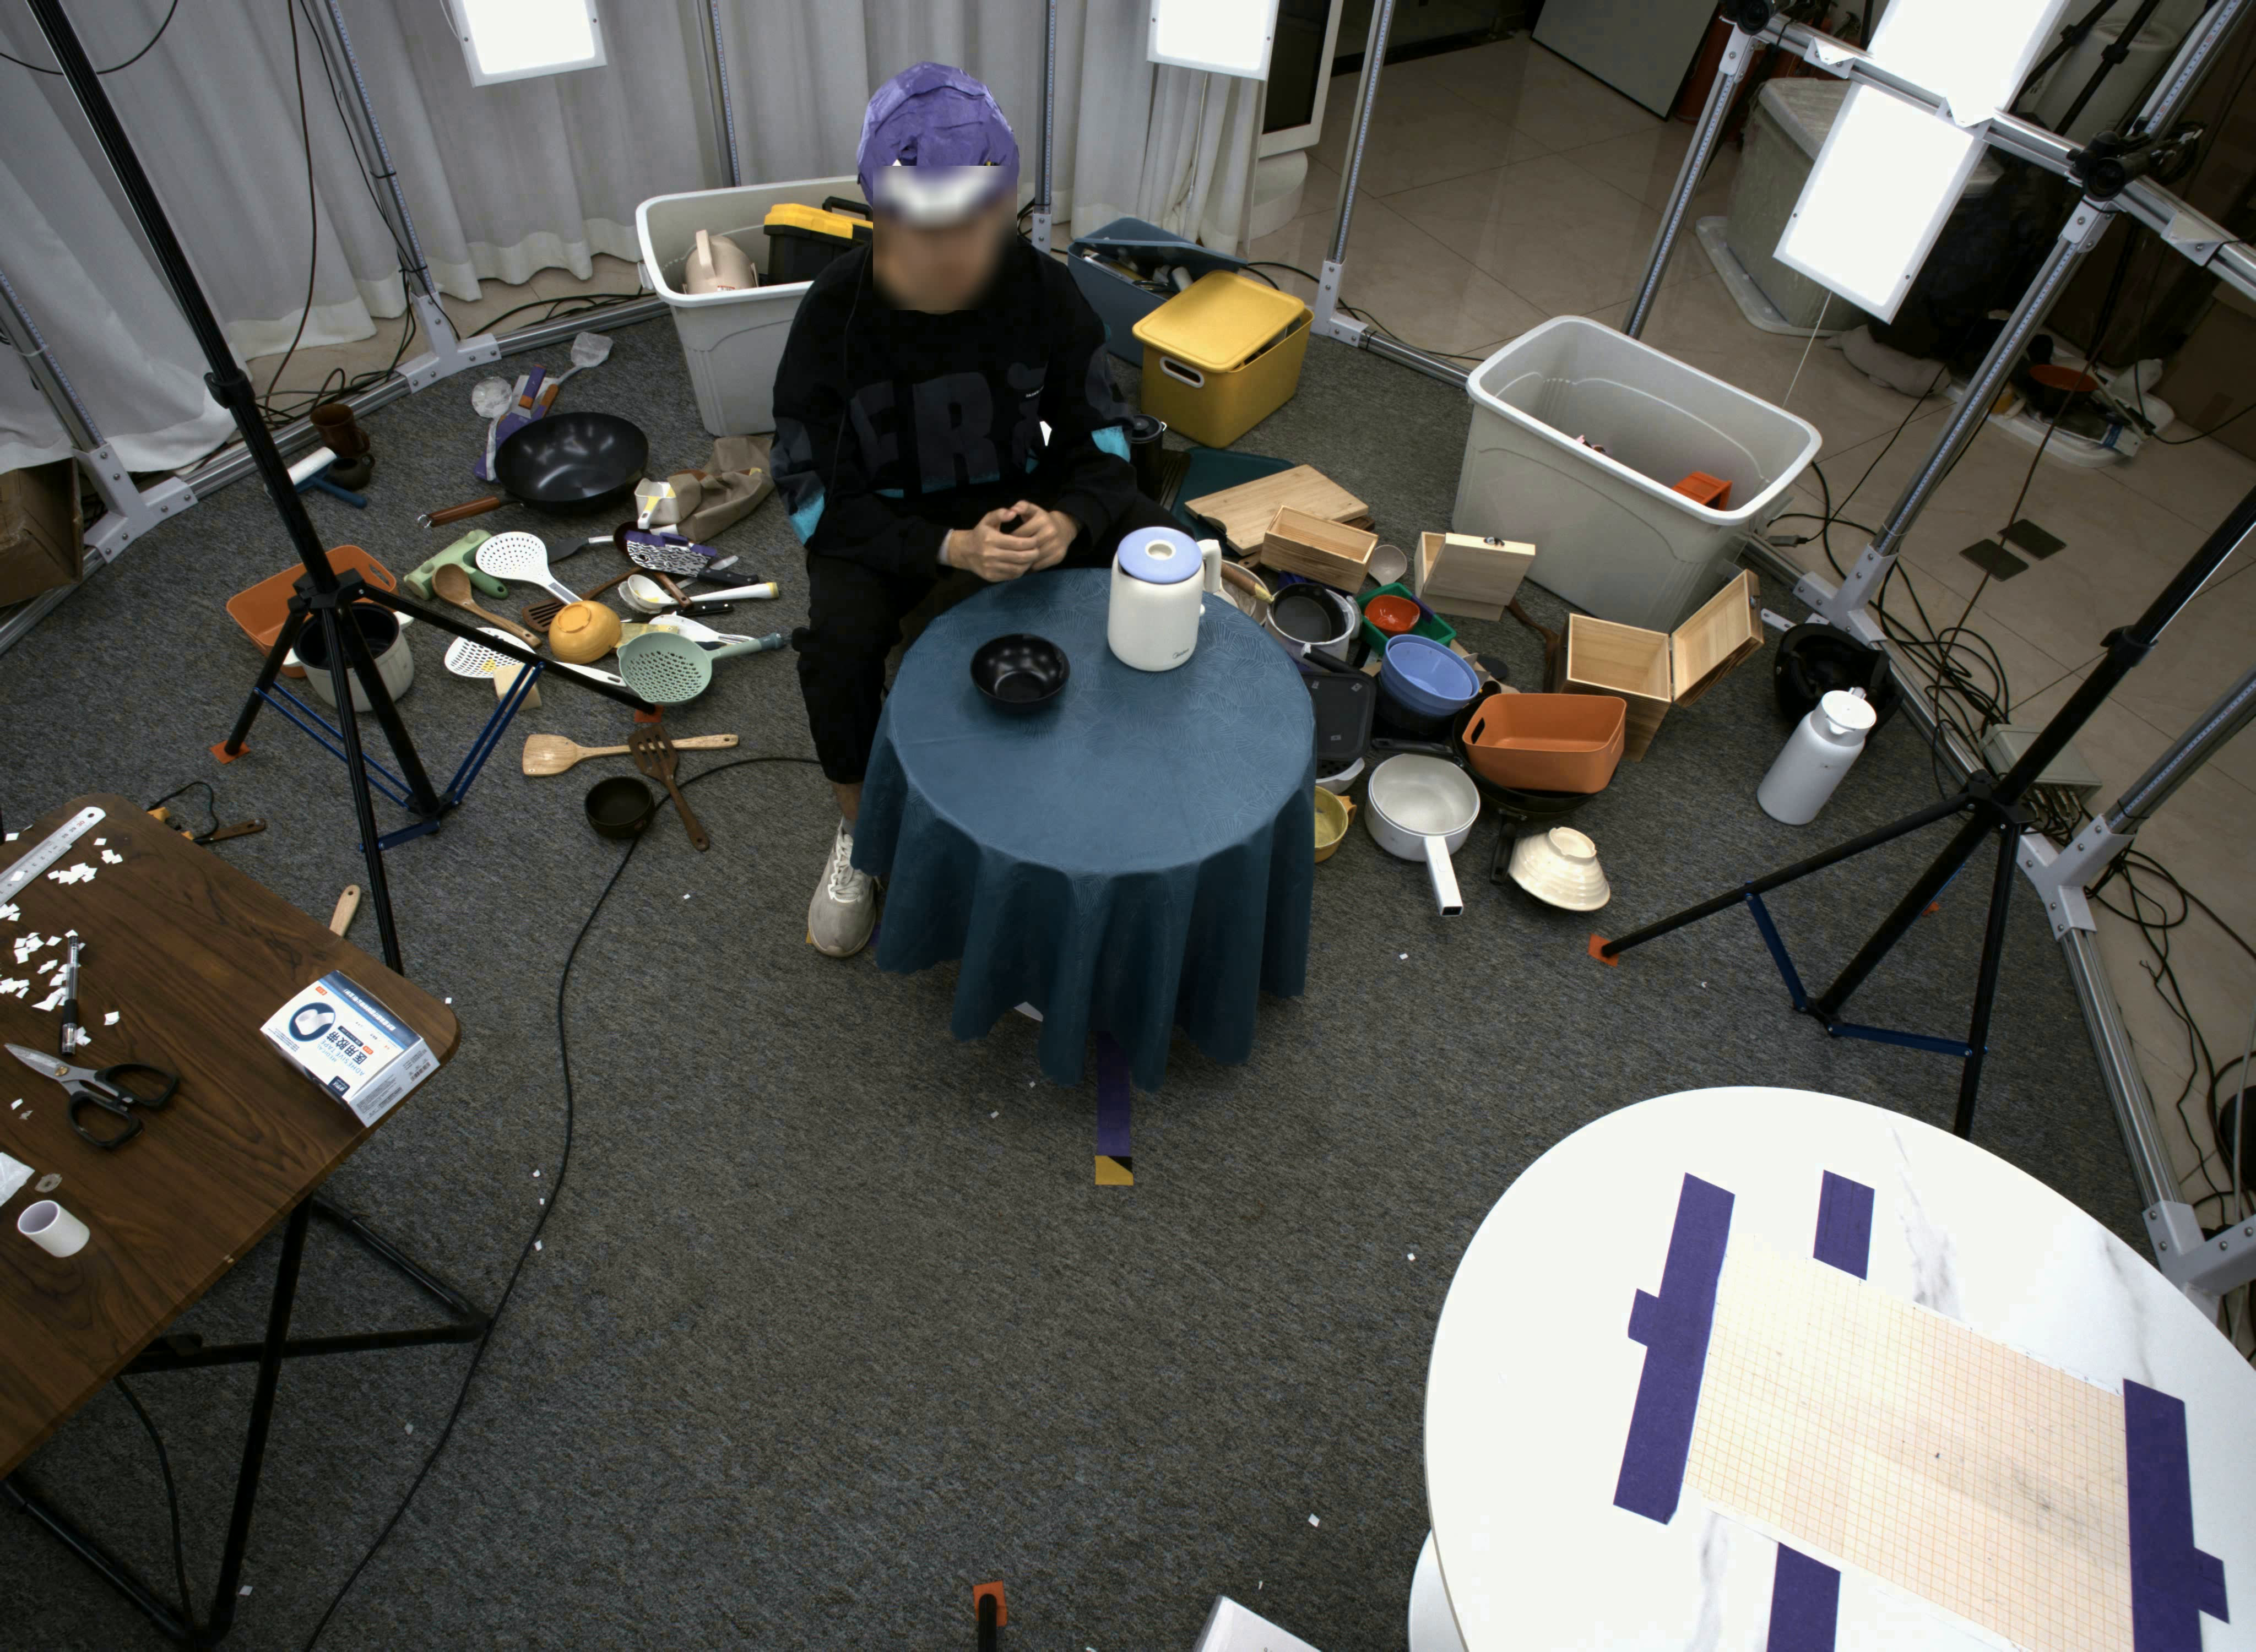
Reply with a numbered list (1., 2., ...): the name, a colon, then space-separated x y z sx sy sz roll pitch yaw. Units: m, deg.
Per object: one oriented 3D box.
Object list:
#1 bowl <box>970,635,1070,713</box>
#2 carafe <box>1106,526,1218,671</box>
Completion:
1. bowl: -0.150 -0.206 1.806 0.140 0.048 0.143 0 48 -1
2. carafe: 0.057 -0.336 1.853 0.192 0.178 0.134 -29 58 -28
